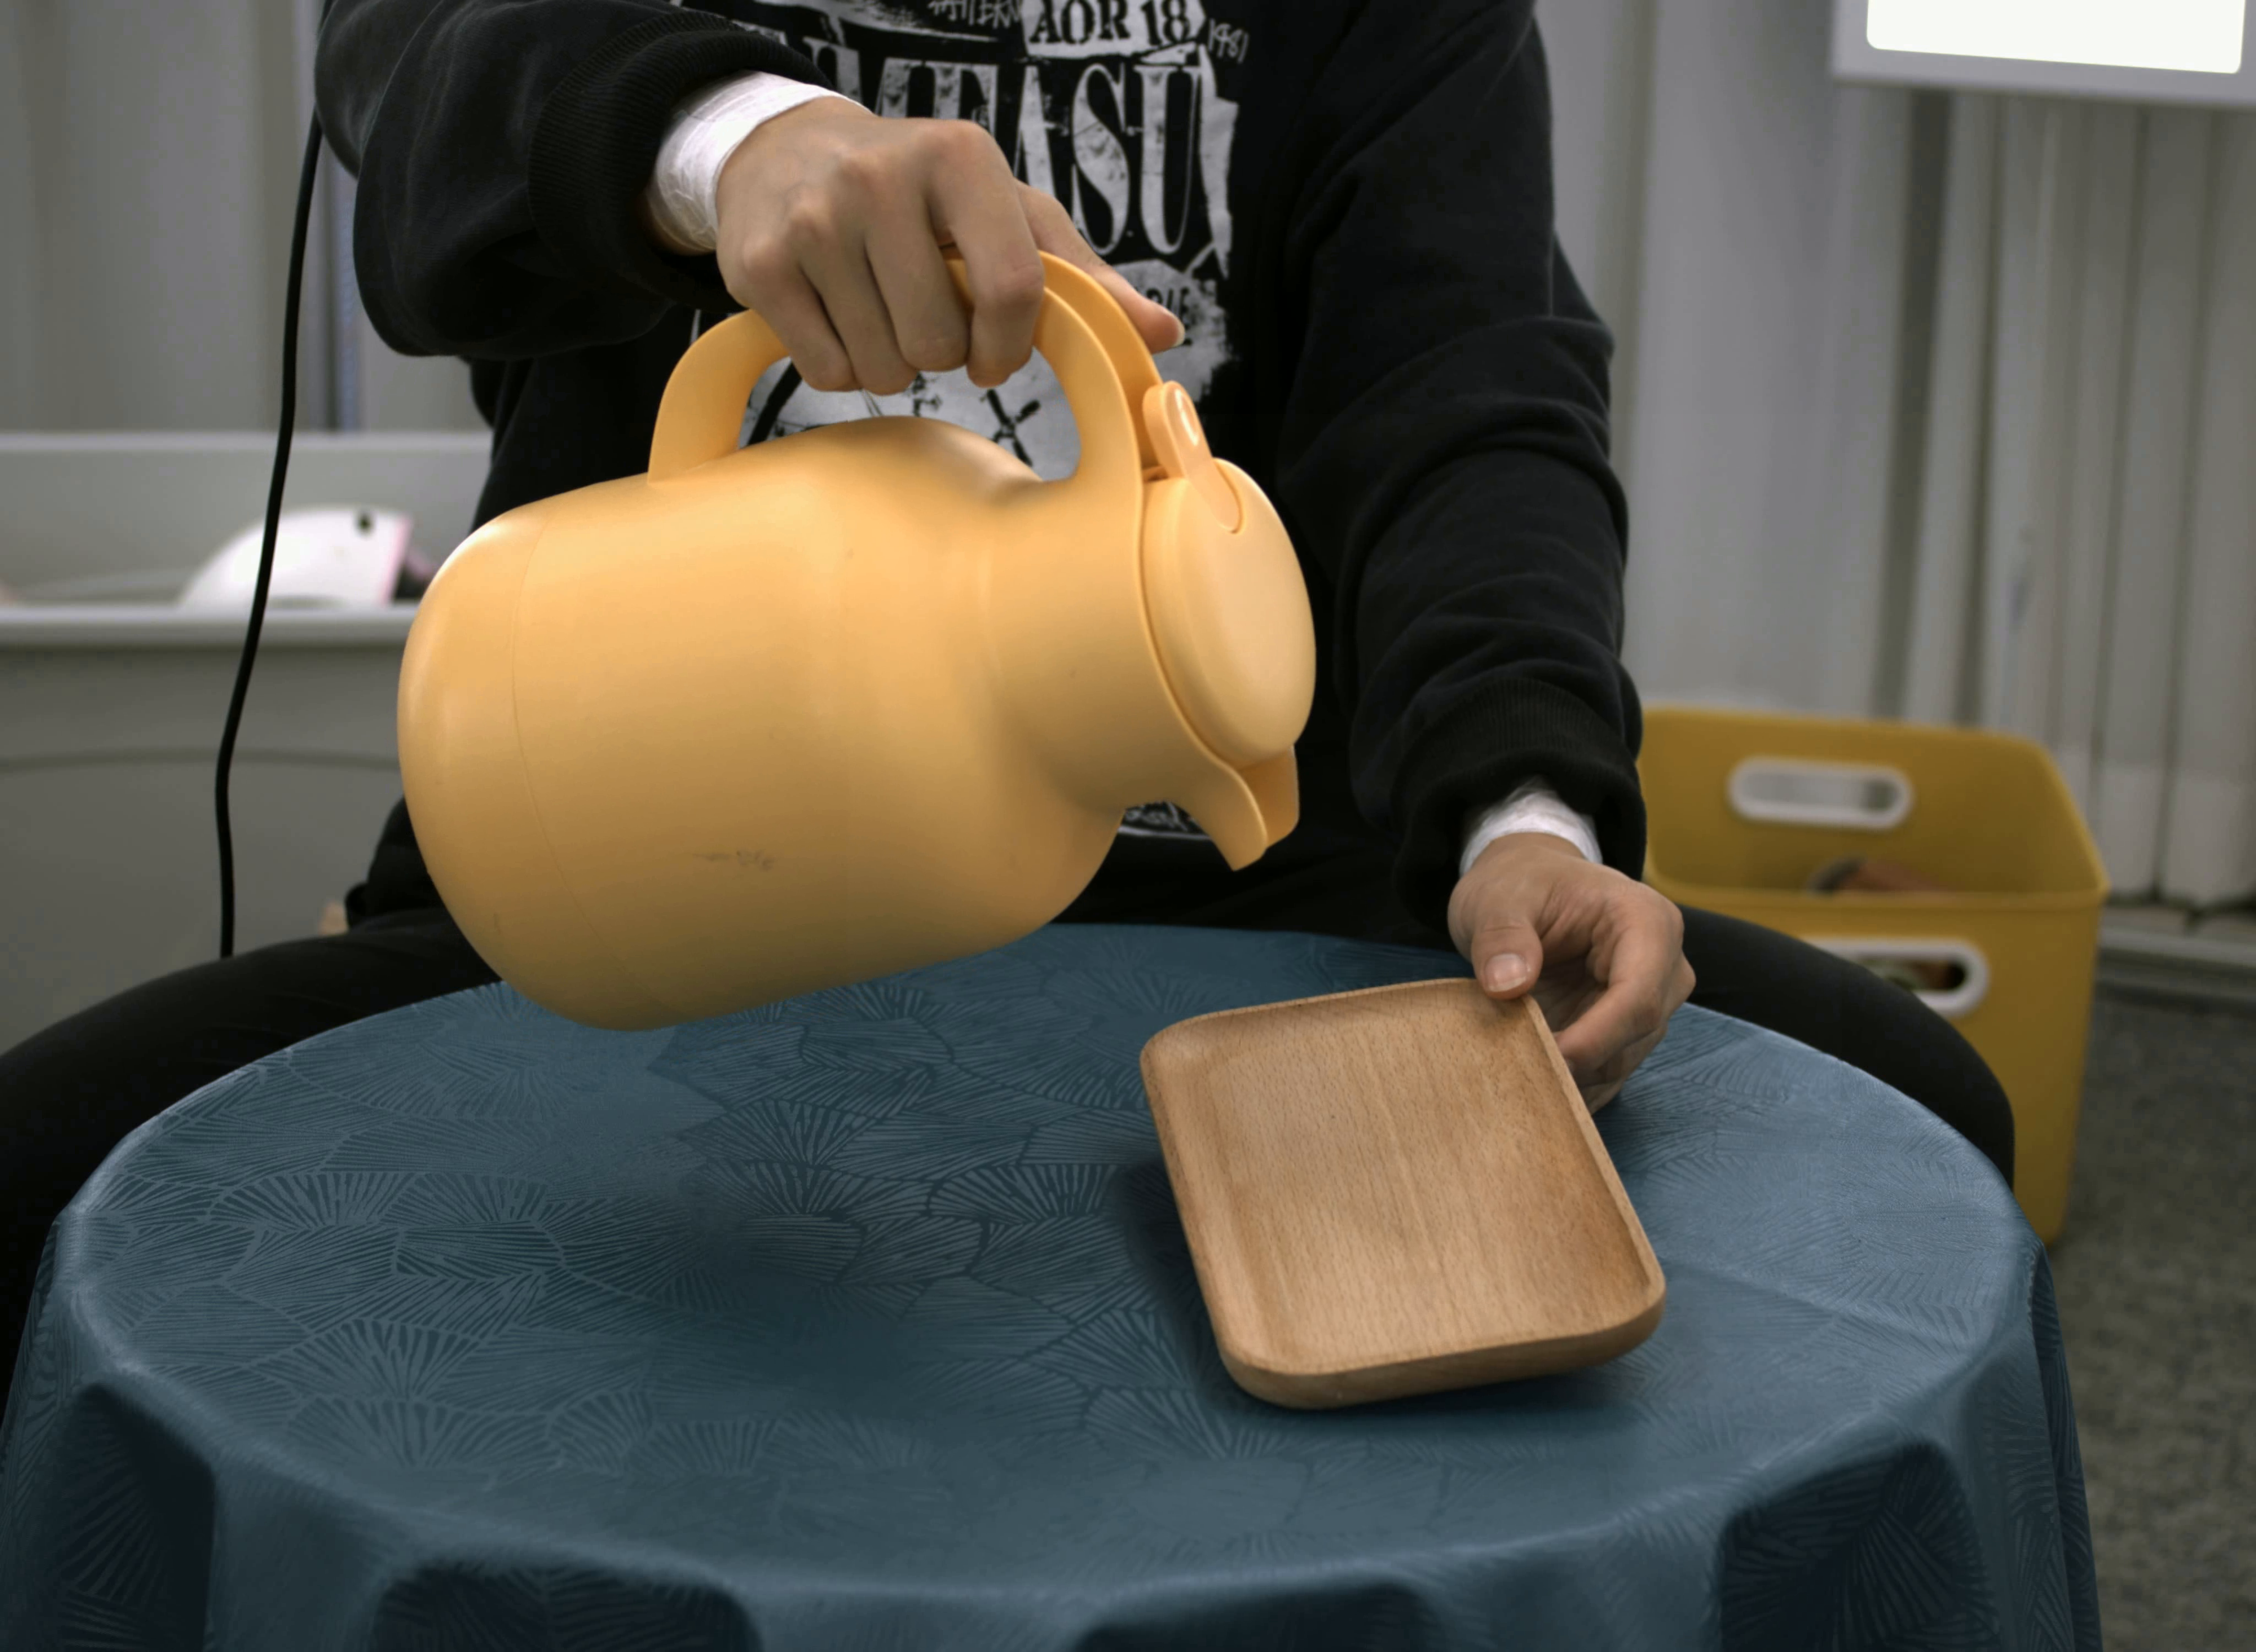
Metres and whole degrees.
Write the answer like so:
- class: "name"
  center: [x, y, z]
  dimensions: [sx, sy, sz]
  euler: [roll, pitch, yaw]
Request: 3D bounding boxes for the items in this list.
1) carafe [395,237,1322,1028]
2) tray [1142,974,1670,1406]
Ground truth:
- class: "carafe"
  center: [-0.078, -0.058, 1.527]
  dimensions: [0.258, 0.204, 0.163]
  euler: [-12, 10, 23]
- class: "tray"
  center: [0.078, 0.104, 1.557]
  dimensions: [0.130, 0.023, 0.248]
  euler: [-5, 21, -4]
